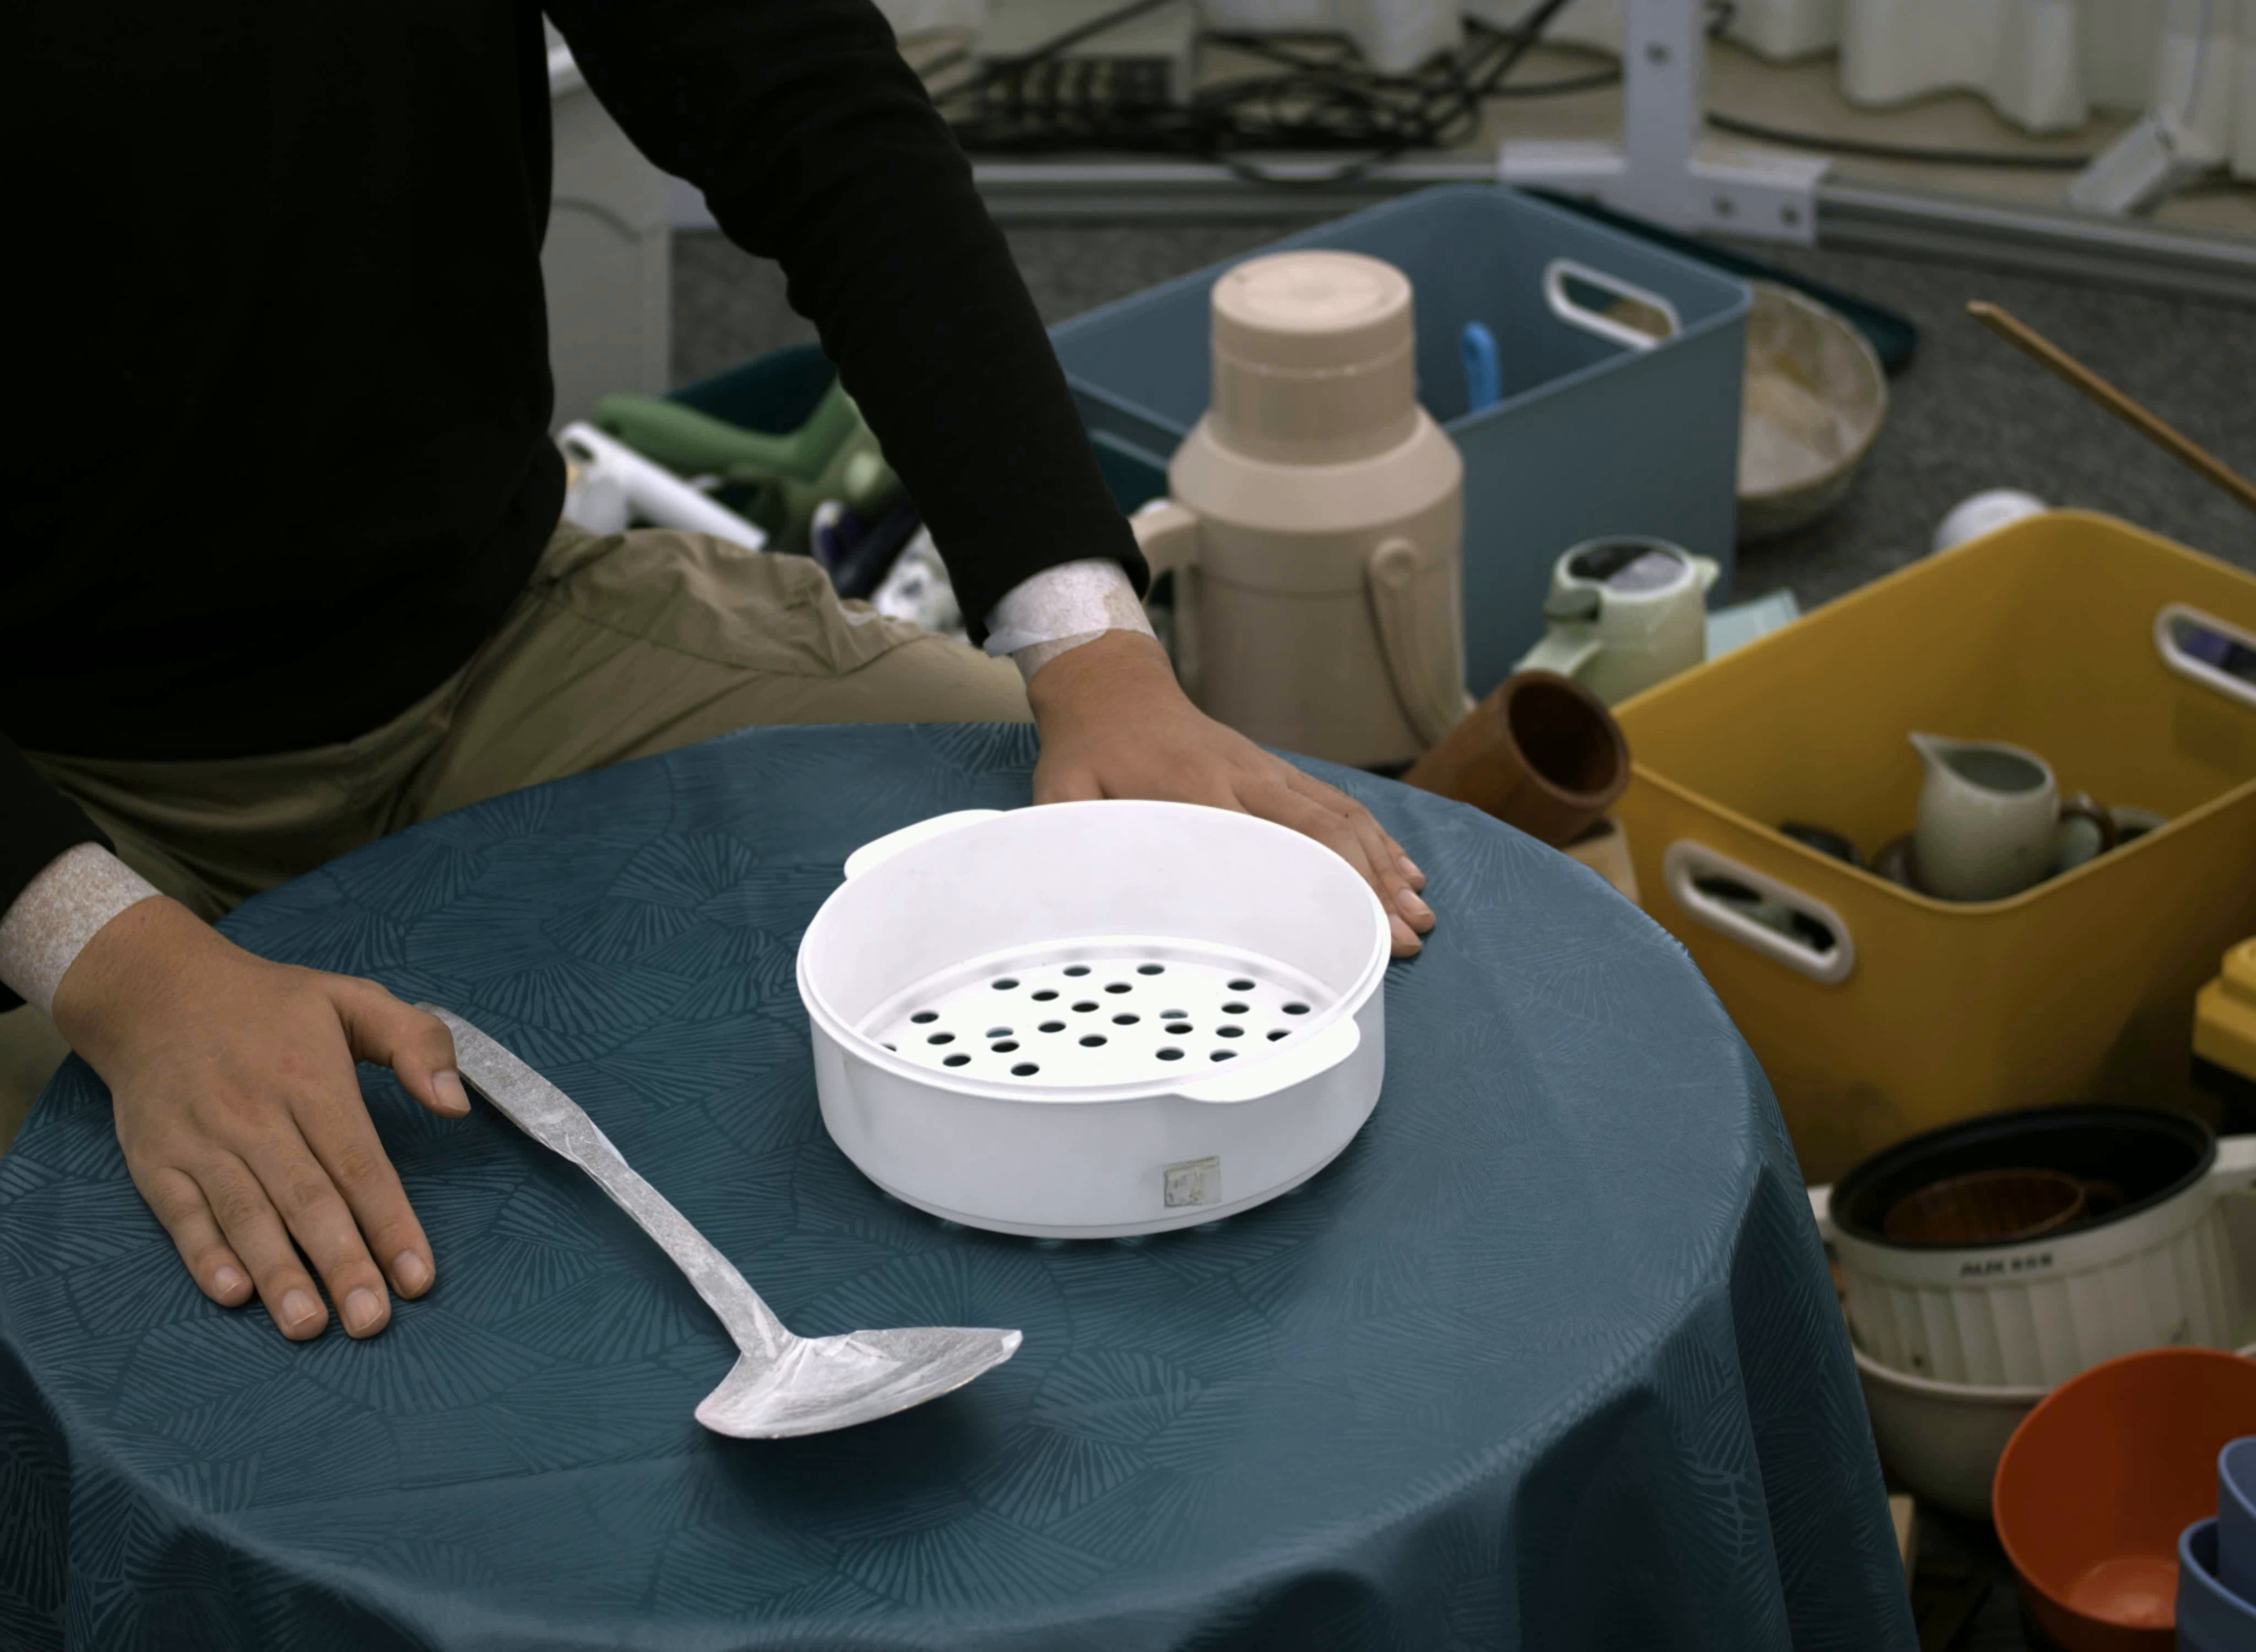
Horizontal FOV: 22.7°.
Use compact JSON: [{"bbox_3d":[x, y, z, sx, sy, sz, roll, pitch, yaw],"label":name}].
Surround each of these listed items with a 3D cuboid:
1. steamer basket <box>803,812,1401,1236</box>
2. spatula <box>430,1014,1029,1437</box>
[{"bbox_3d":[-0.007,0.067,1.892,0.203,0.068,0.231,-19,30,-31],"label":"steamer basket"},{"bbox_3d":[-0.154,0.122,1.836,0.099,0.044,0.366,-20,32,-25],"label":"spatula"}]
